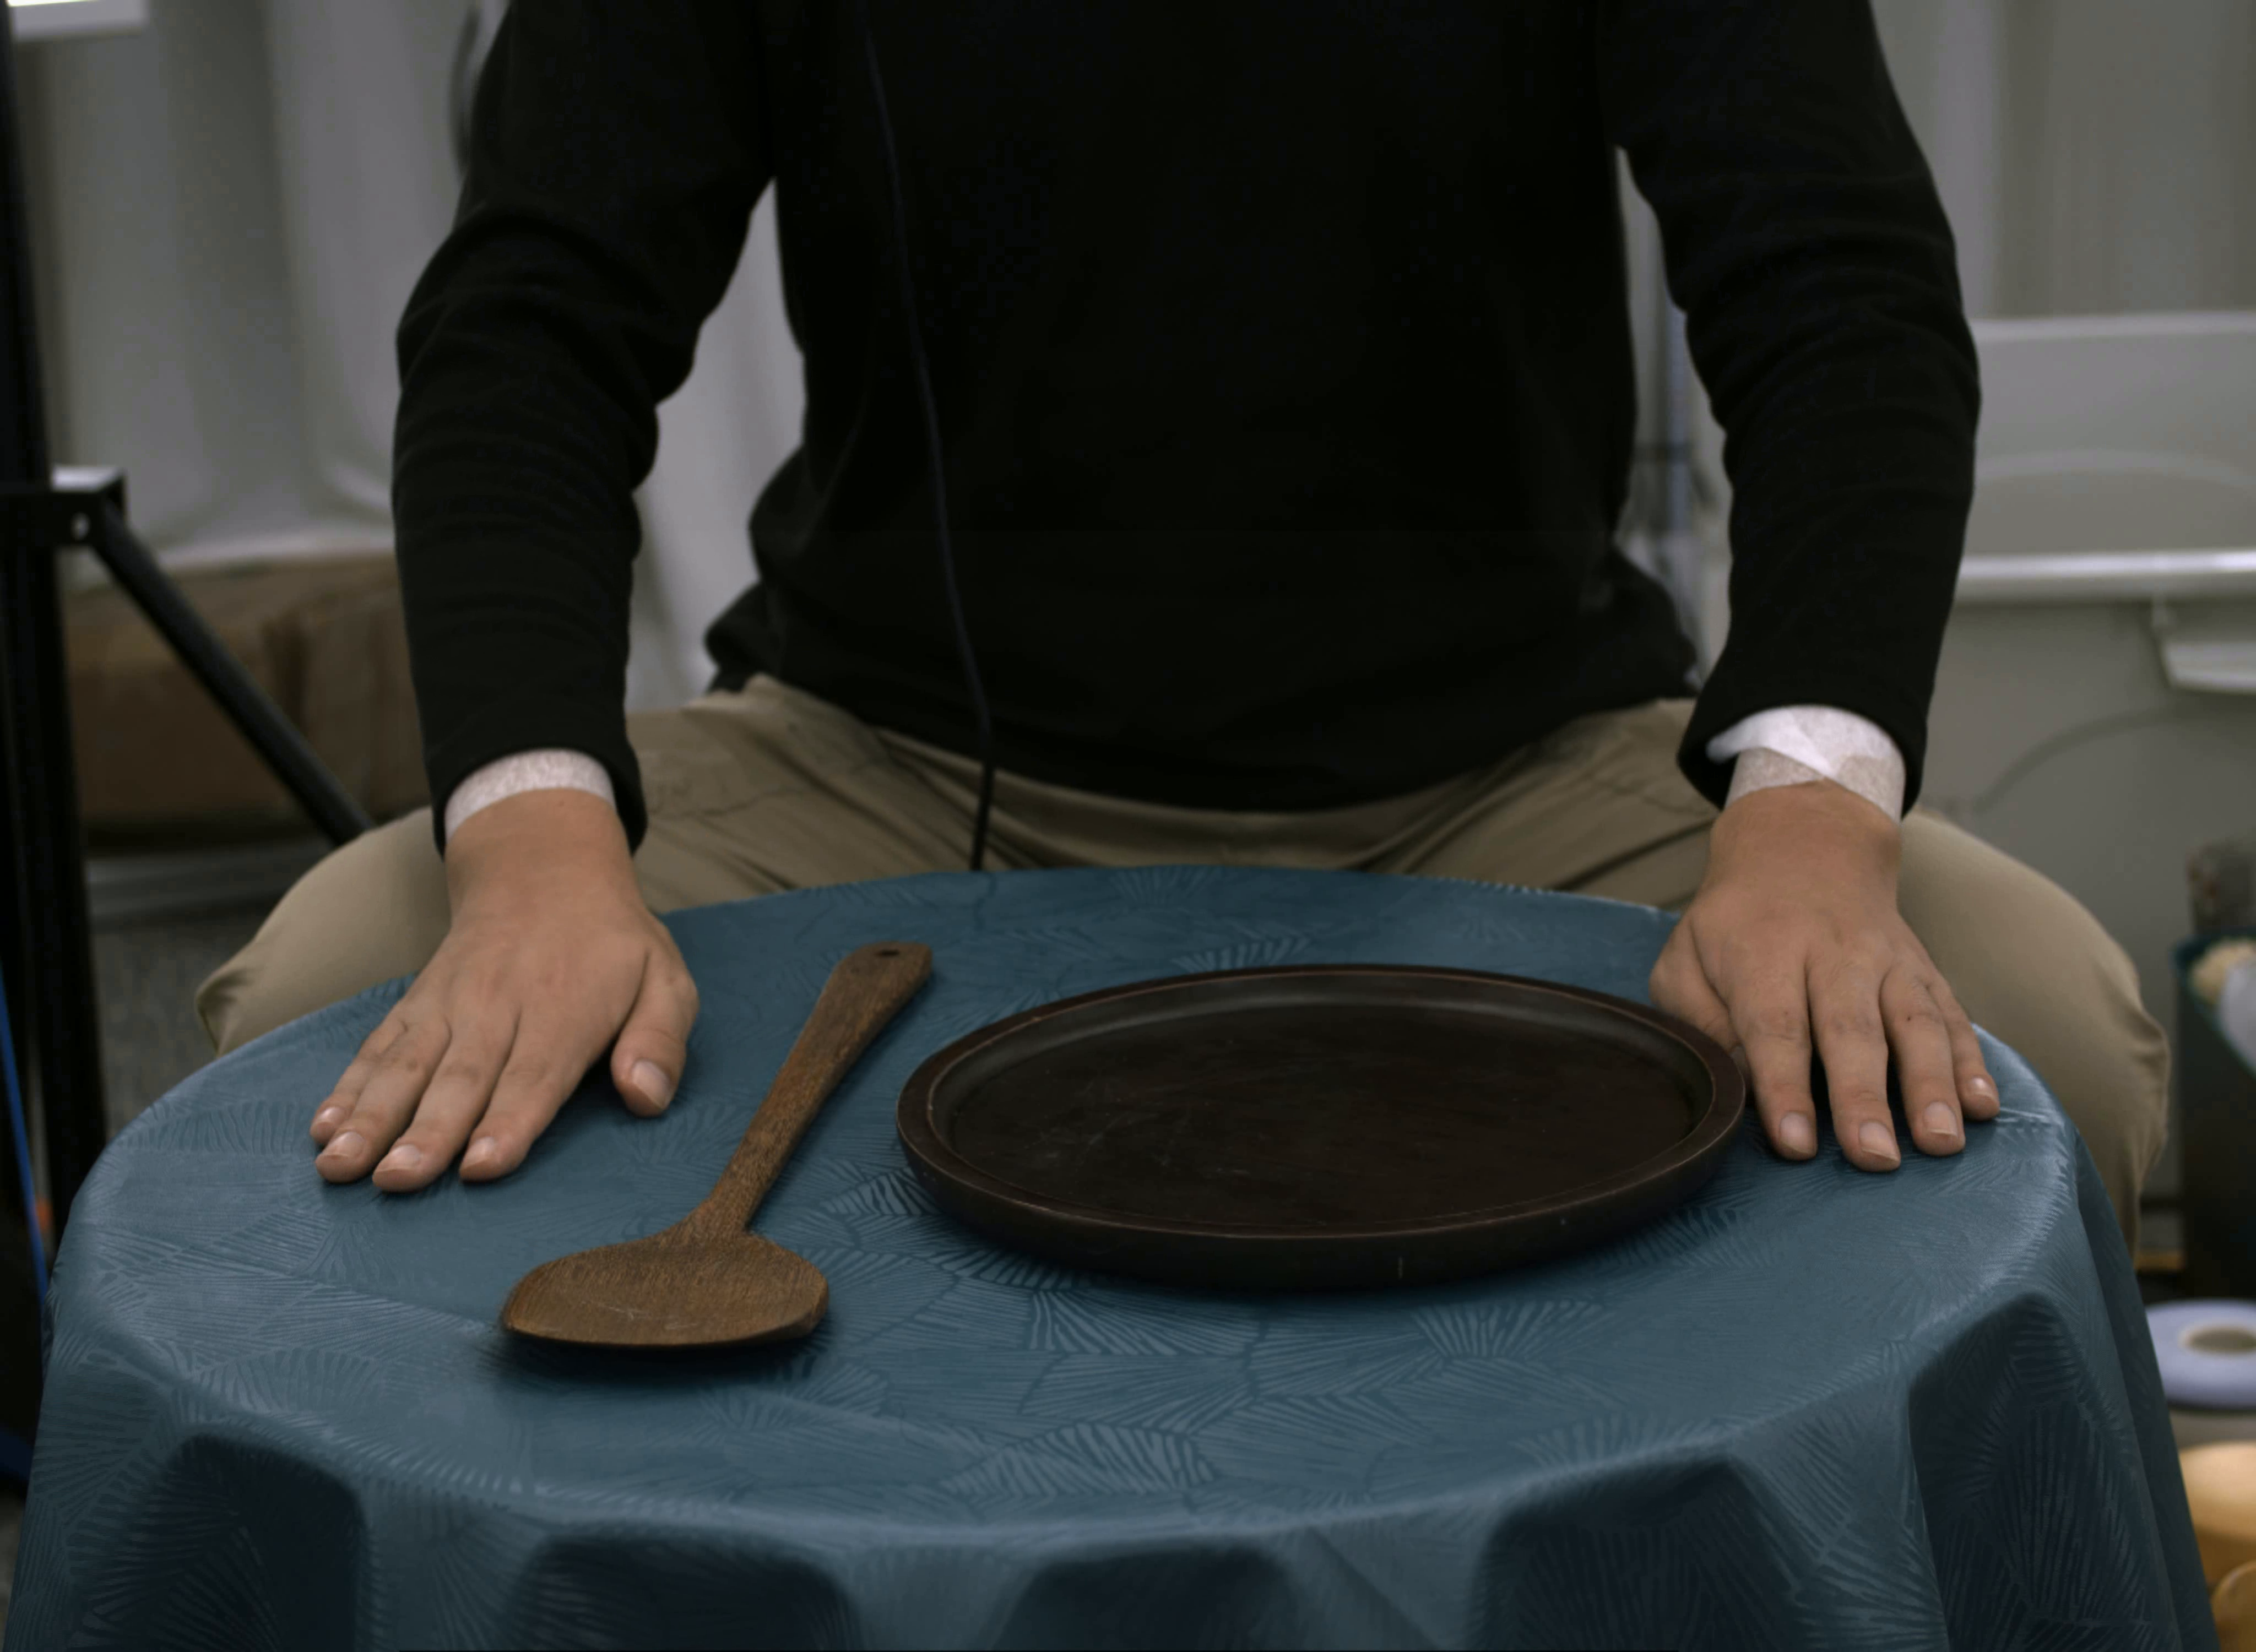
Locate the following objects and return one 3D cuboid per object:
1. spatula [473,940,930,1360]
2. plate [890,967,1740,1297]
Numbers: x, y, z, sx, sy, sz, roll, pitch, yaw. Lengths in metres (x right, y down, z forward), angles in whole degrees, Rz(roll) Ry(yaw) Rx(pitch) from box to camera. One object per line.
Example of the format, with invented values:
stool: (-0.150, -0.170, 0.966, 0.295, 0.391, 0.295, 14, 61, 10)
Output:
spatula: (-0.107, 0.091, 1.608, 0.096, 0.016, 0.384, 1, 16, 9)
plate: (0.056, 0.088, 1.575, 0.253, 0.029, 0.256, -4, 15, 0)
